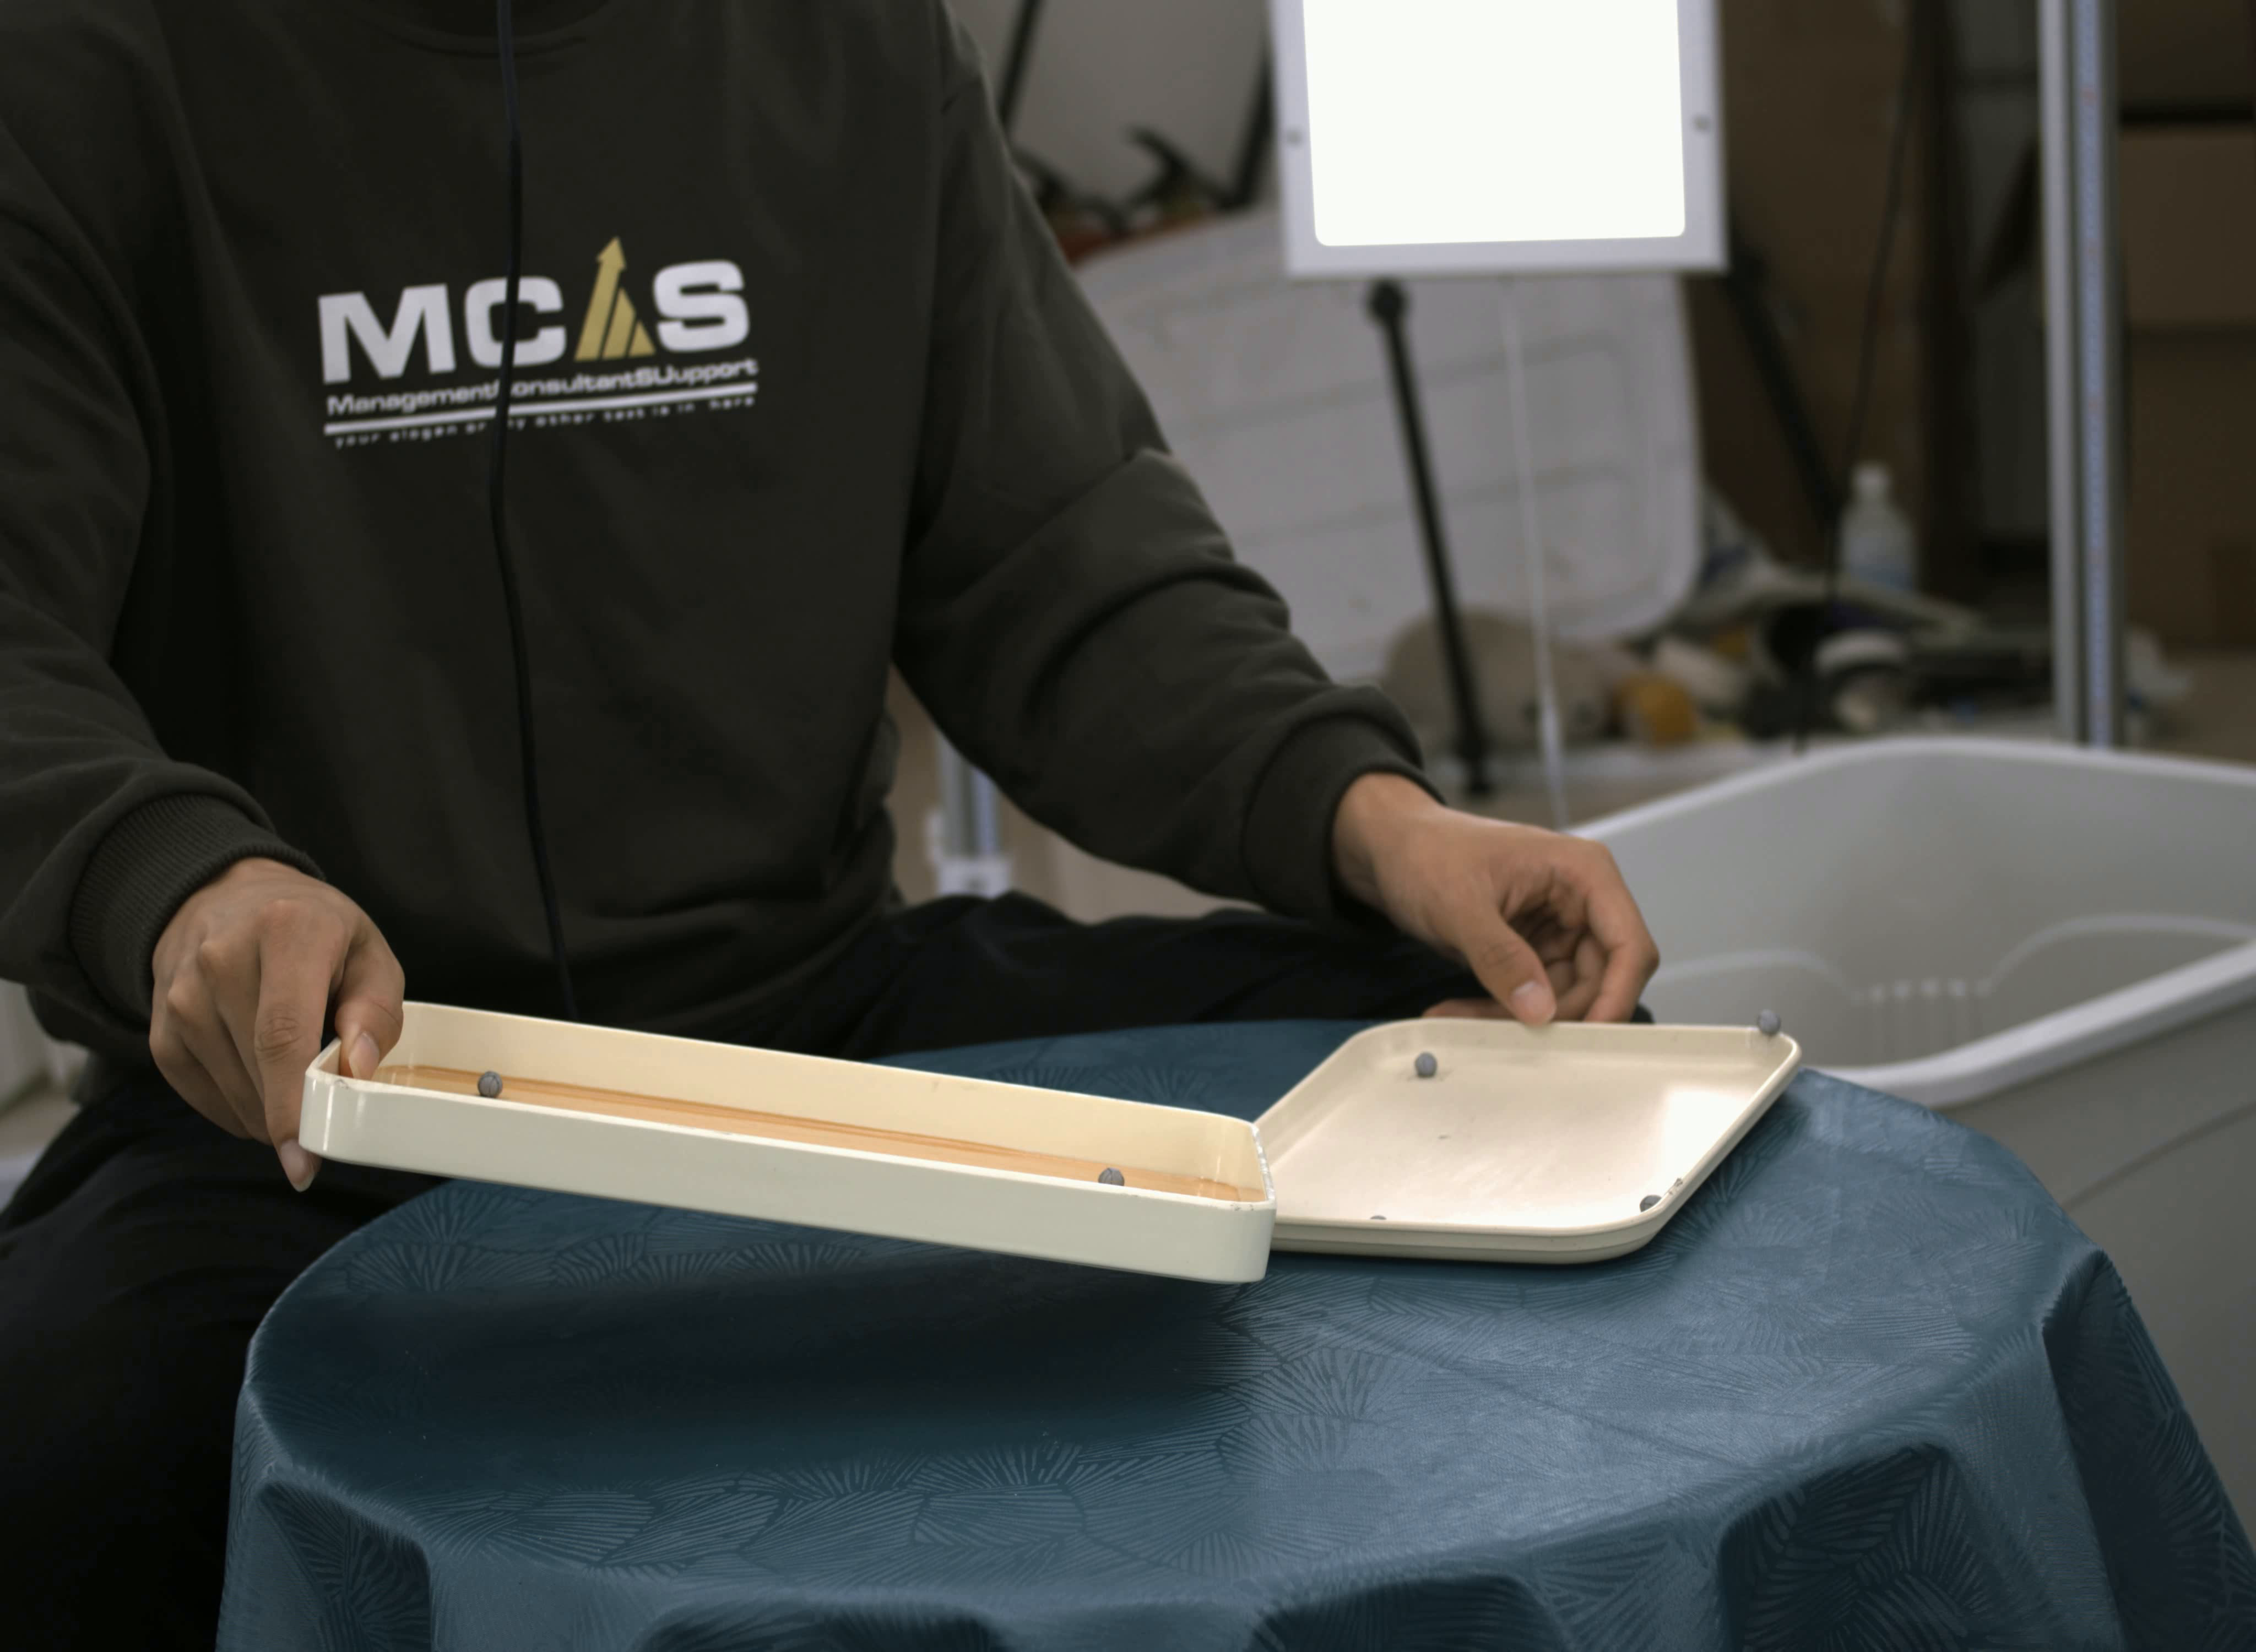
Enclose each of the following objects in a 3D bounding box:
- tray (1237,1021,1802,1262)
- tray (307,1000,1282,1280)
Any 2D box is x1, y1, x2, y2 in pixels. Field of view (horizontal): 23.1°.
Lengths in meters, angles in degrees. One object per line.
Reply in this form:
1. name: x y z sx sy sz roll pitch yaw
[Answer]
1. tray: 0.129 0.108 1.895 0.174 0.017 0.235 0 14 23
2. tray: -0.103 0.099 1.758 0.299 0.027 0.191 8 5 0
